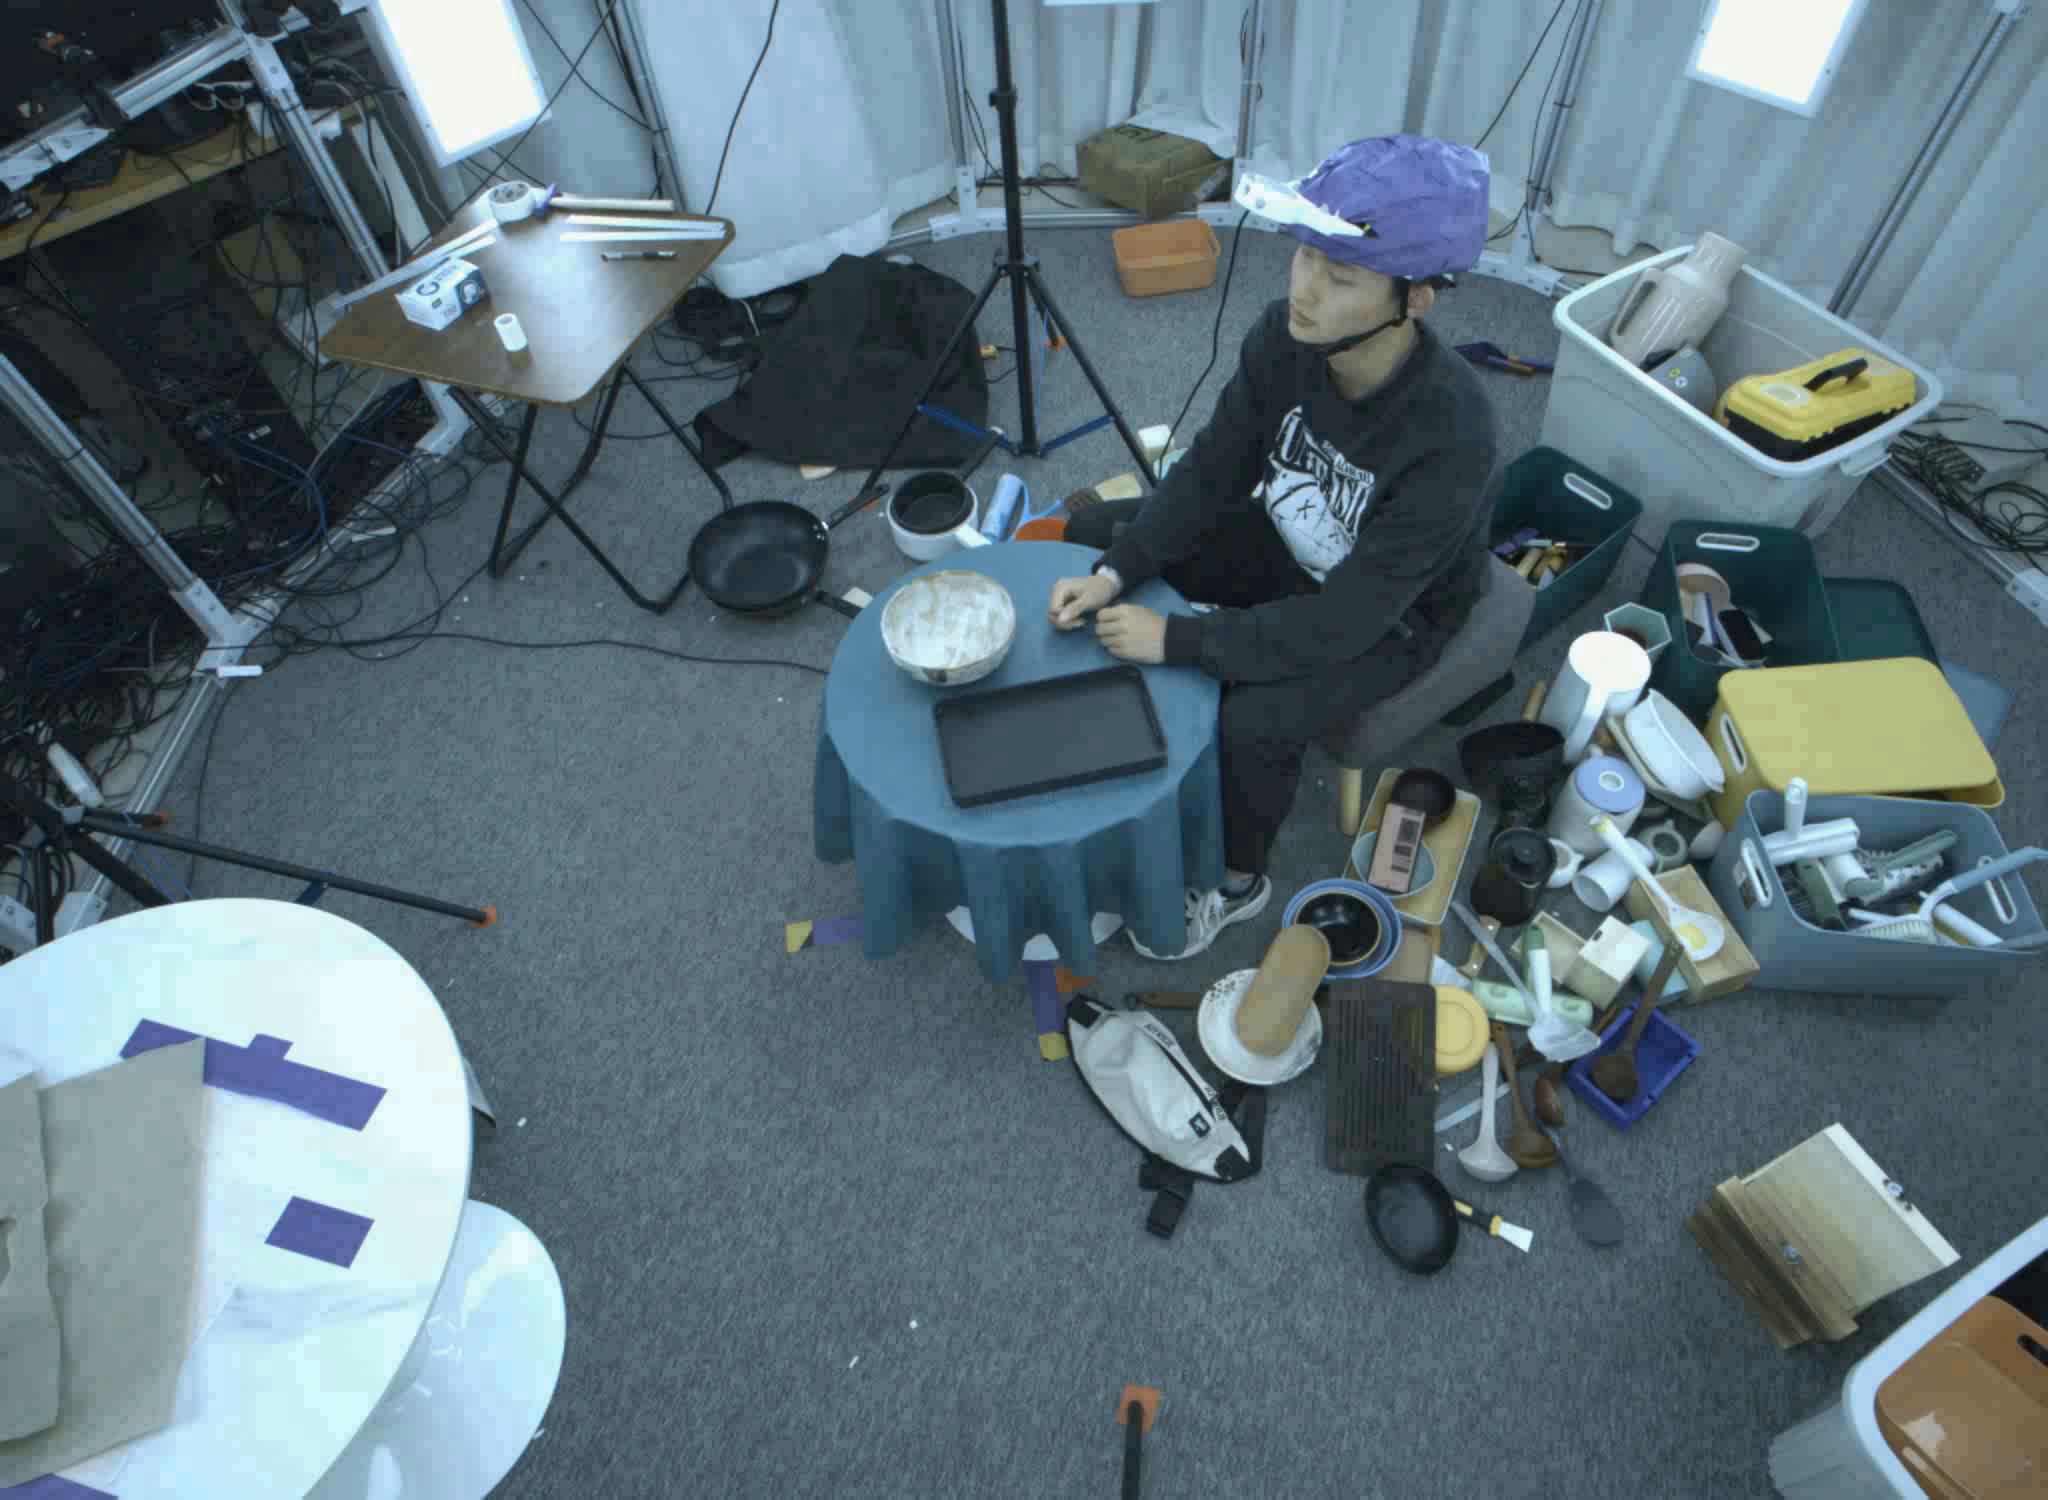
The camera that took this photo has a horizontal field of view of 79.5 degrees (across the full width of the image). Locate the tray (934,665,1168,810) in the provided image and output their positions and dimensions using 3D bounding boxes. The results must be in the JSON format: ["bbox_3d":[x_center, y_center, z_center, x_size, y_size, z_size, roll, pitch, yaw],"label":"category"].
[{"bbox_3d":[0.037,-0.020,1.789,0.319,0.037,0.181,-10,56,-5],"label":"tray"}]

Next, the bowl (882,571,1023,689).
[{"bbox_3d":[-0.104,-0.165,1.860,0.214,0.095,0.212,-1,54,2],"label":"bowl"}]
